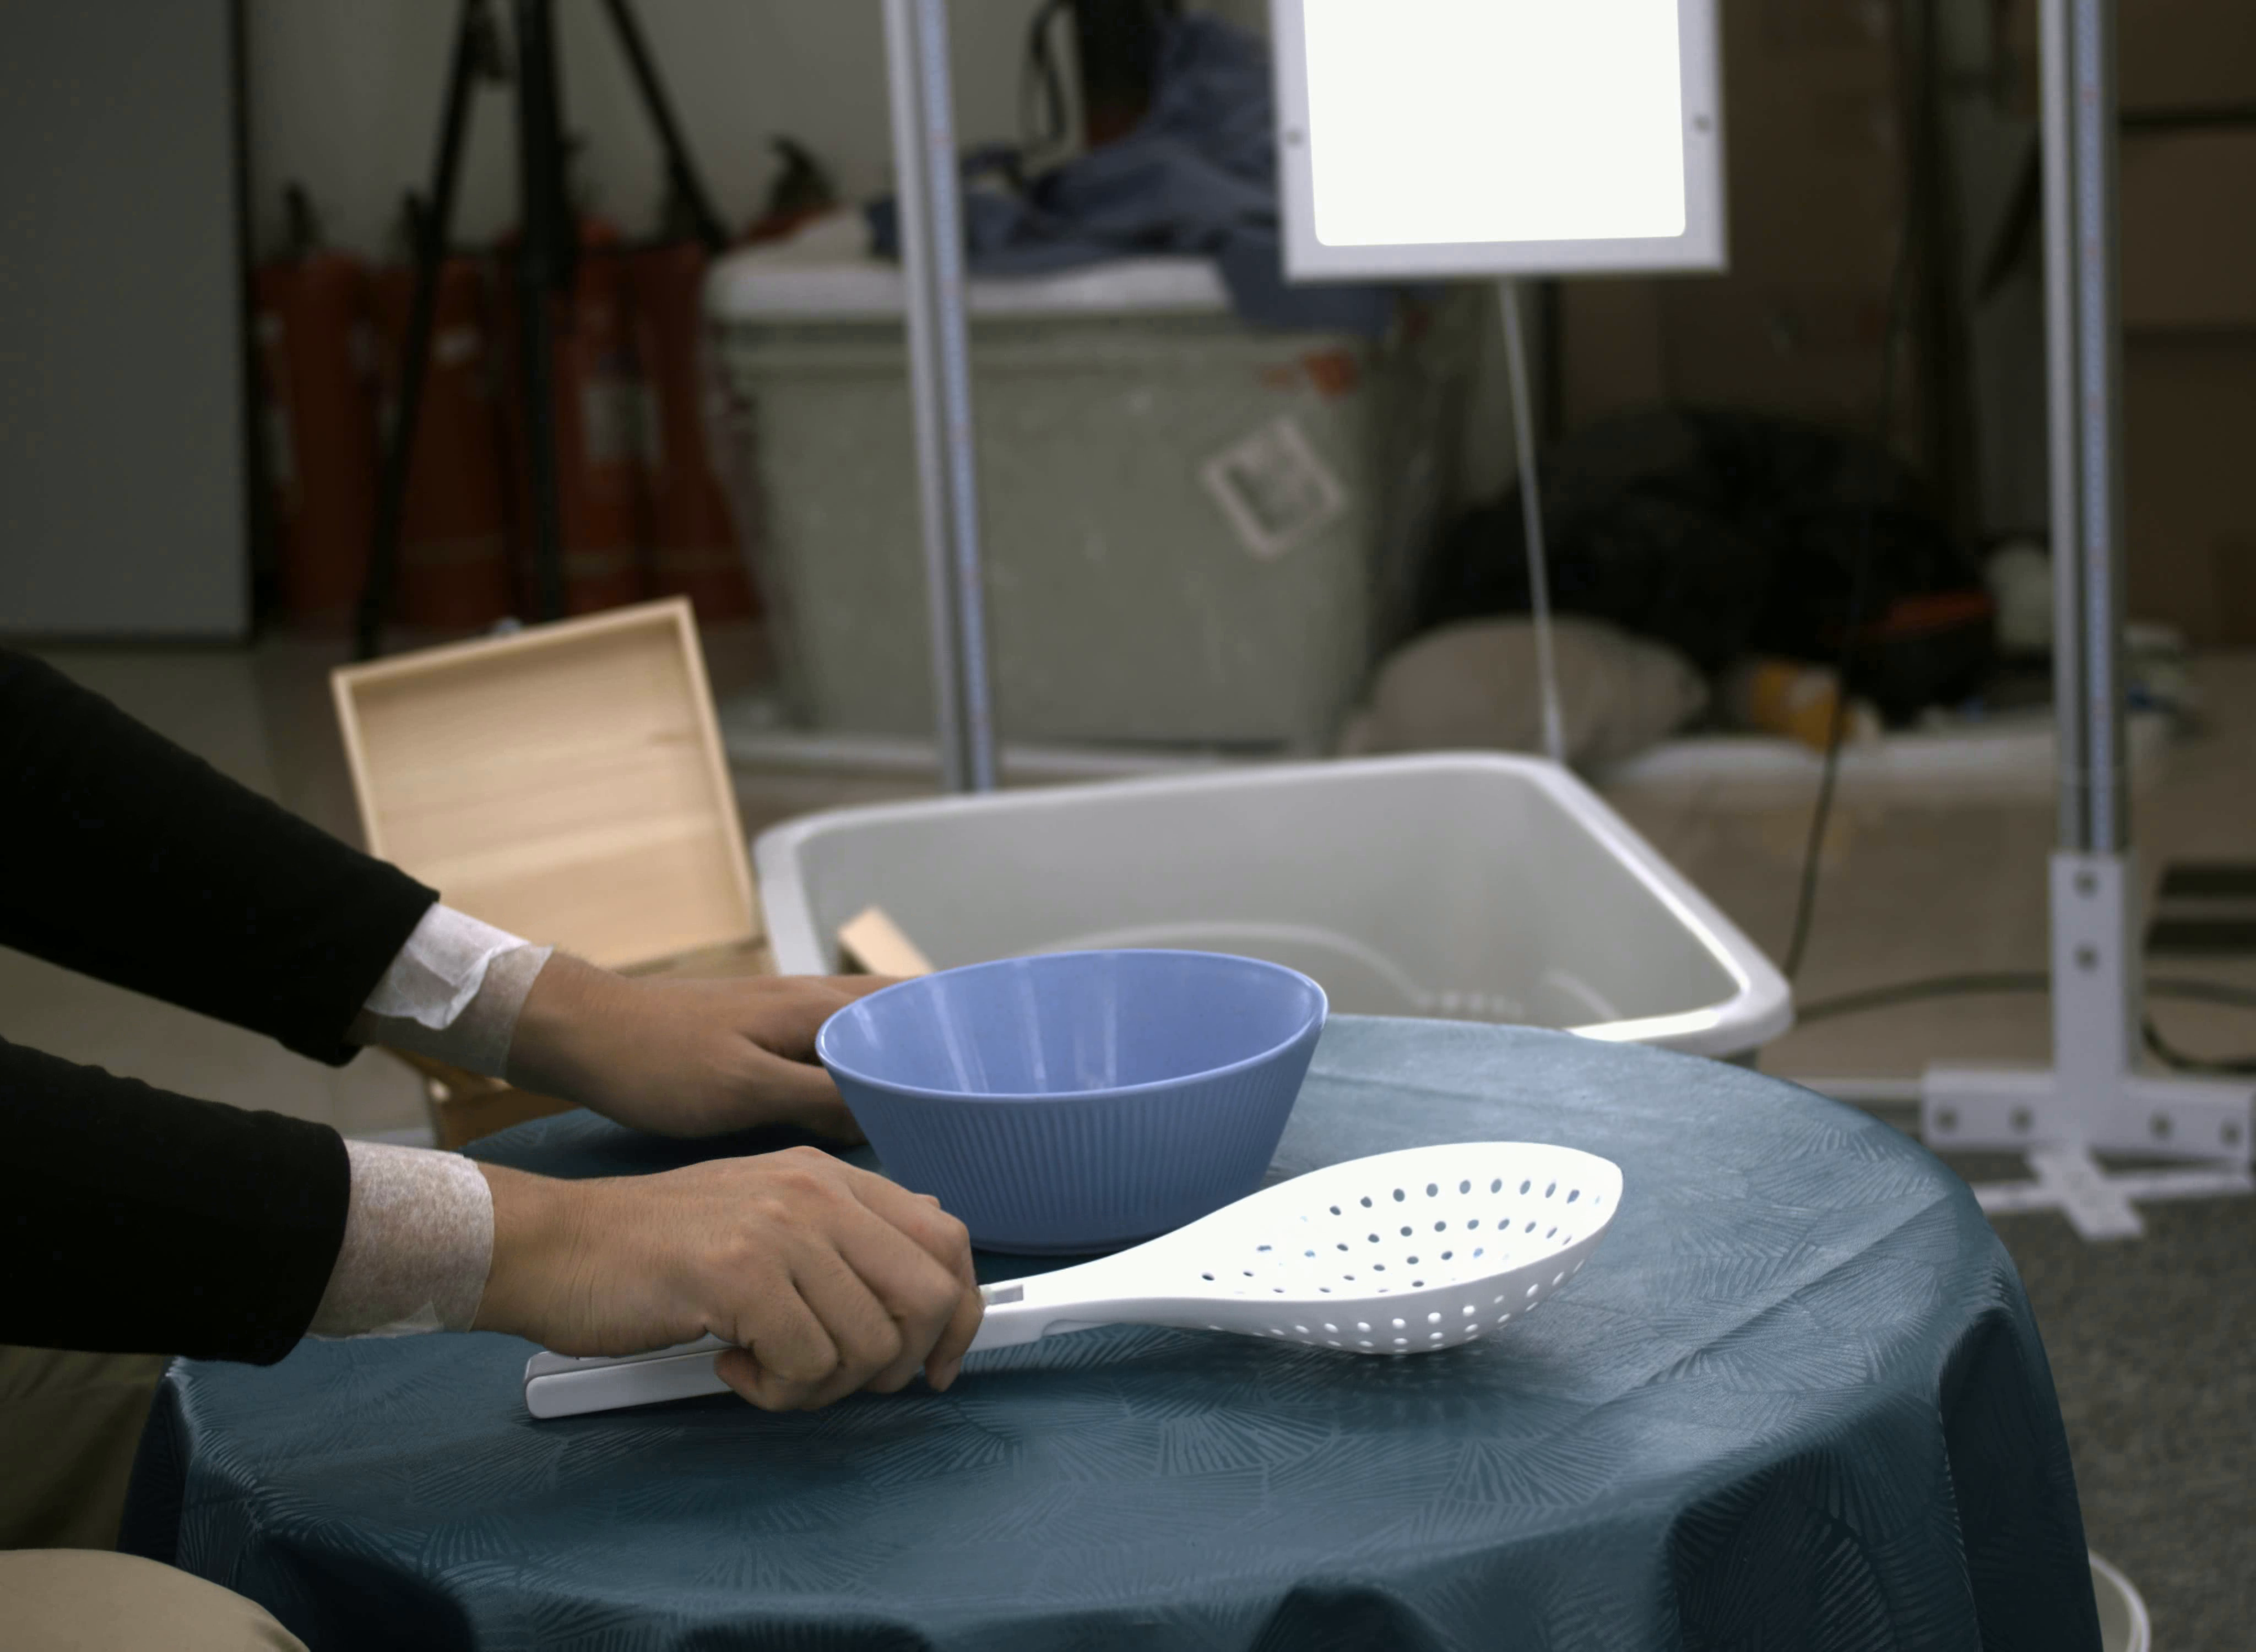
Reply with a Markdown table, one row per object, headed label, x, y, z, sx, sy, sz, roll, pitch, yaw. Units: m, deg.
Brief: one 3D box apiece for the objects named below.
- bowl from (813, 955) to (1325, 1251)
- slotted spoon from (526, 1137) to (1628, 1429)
| label | x | y | z | sx | sy | sz | roll | pitch | yaw |
| --- | --- | --- | --- | --- | --- | --- | --- | --- | --- |
| bowl | -0.018 | 0.096 | 1.879 | 0.175 | 0.070 | 0.176 | -6 | 13 | 0 |
| slotted spoon | -0.016 | 0.148 | 1.722 | 0.349 | 0.046 | 0.136 | -6 | 15 | 1 |
